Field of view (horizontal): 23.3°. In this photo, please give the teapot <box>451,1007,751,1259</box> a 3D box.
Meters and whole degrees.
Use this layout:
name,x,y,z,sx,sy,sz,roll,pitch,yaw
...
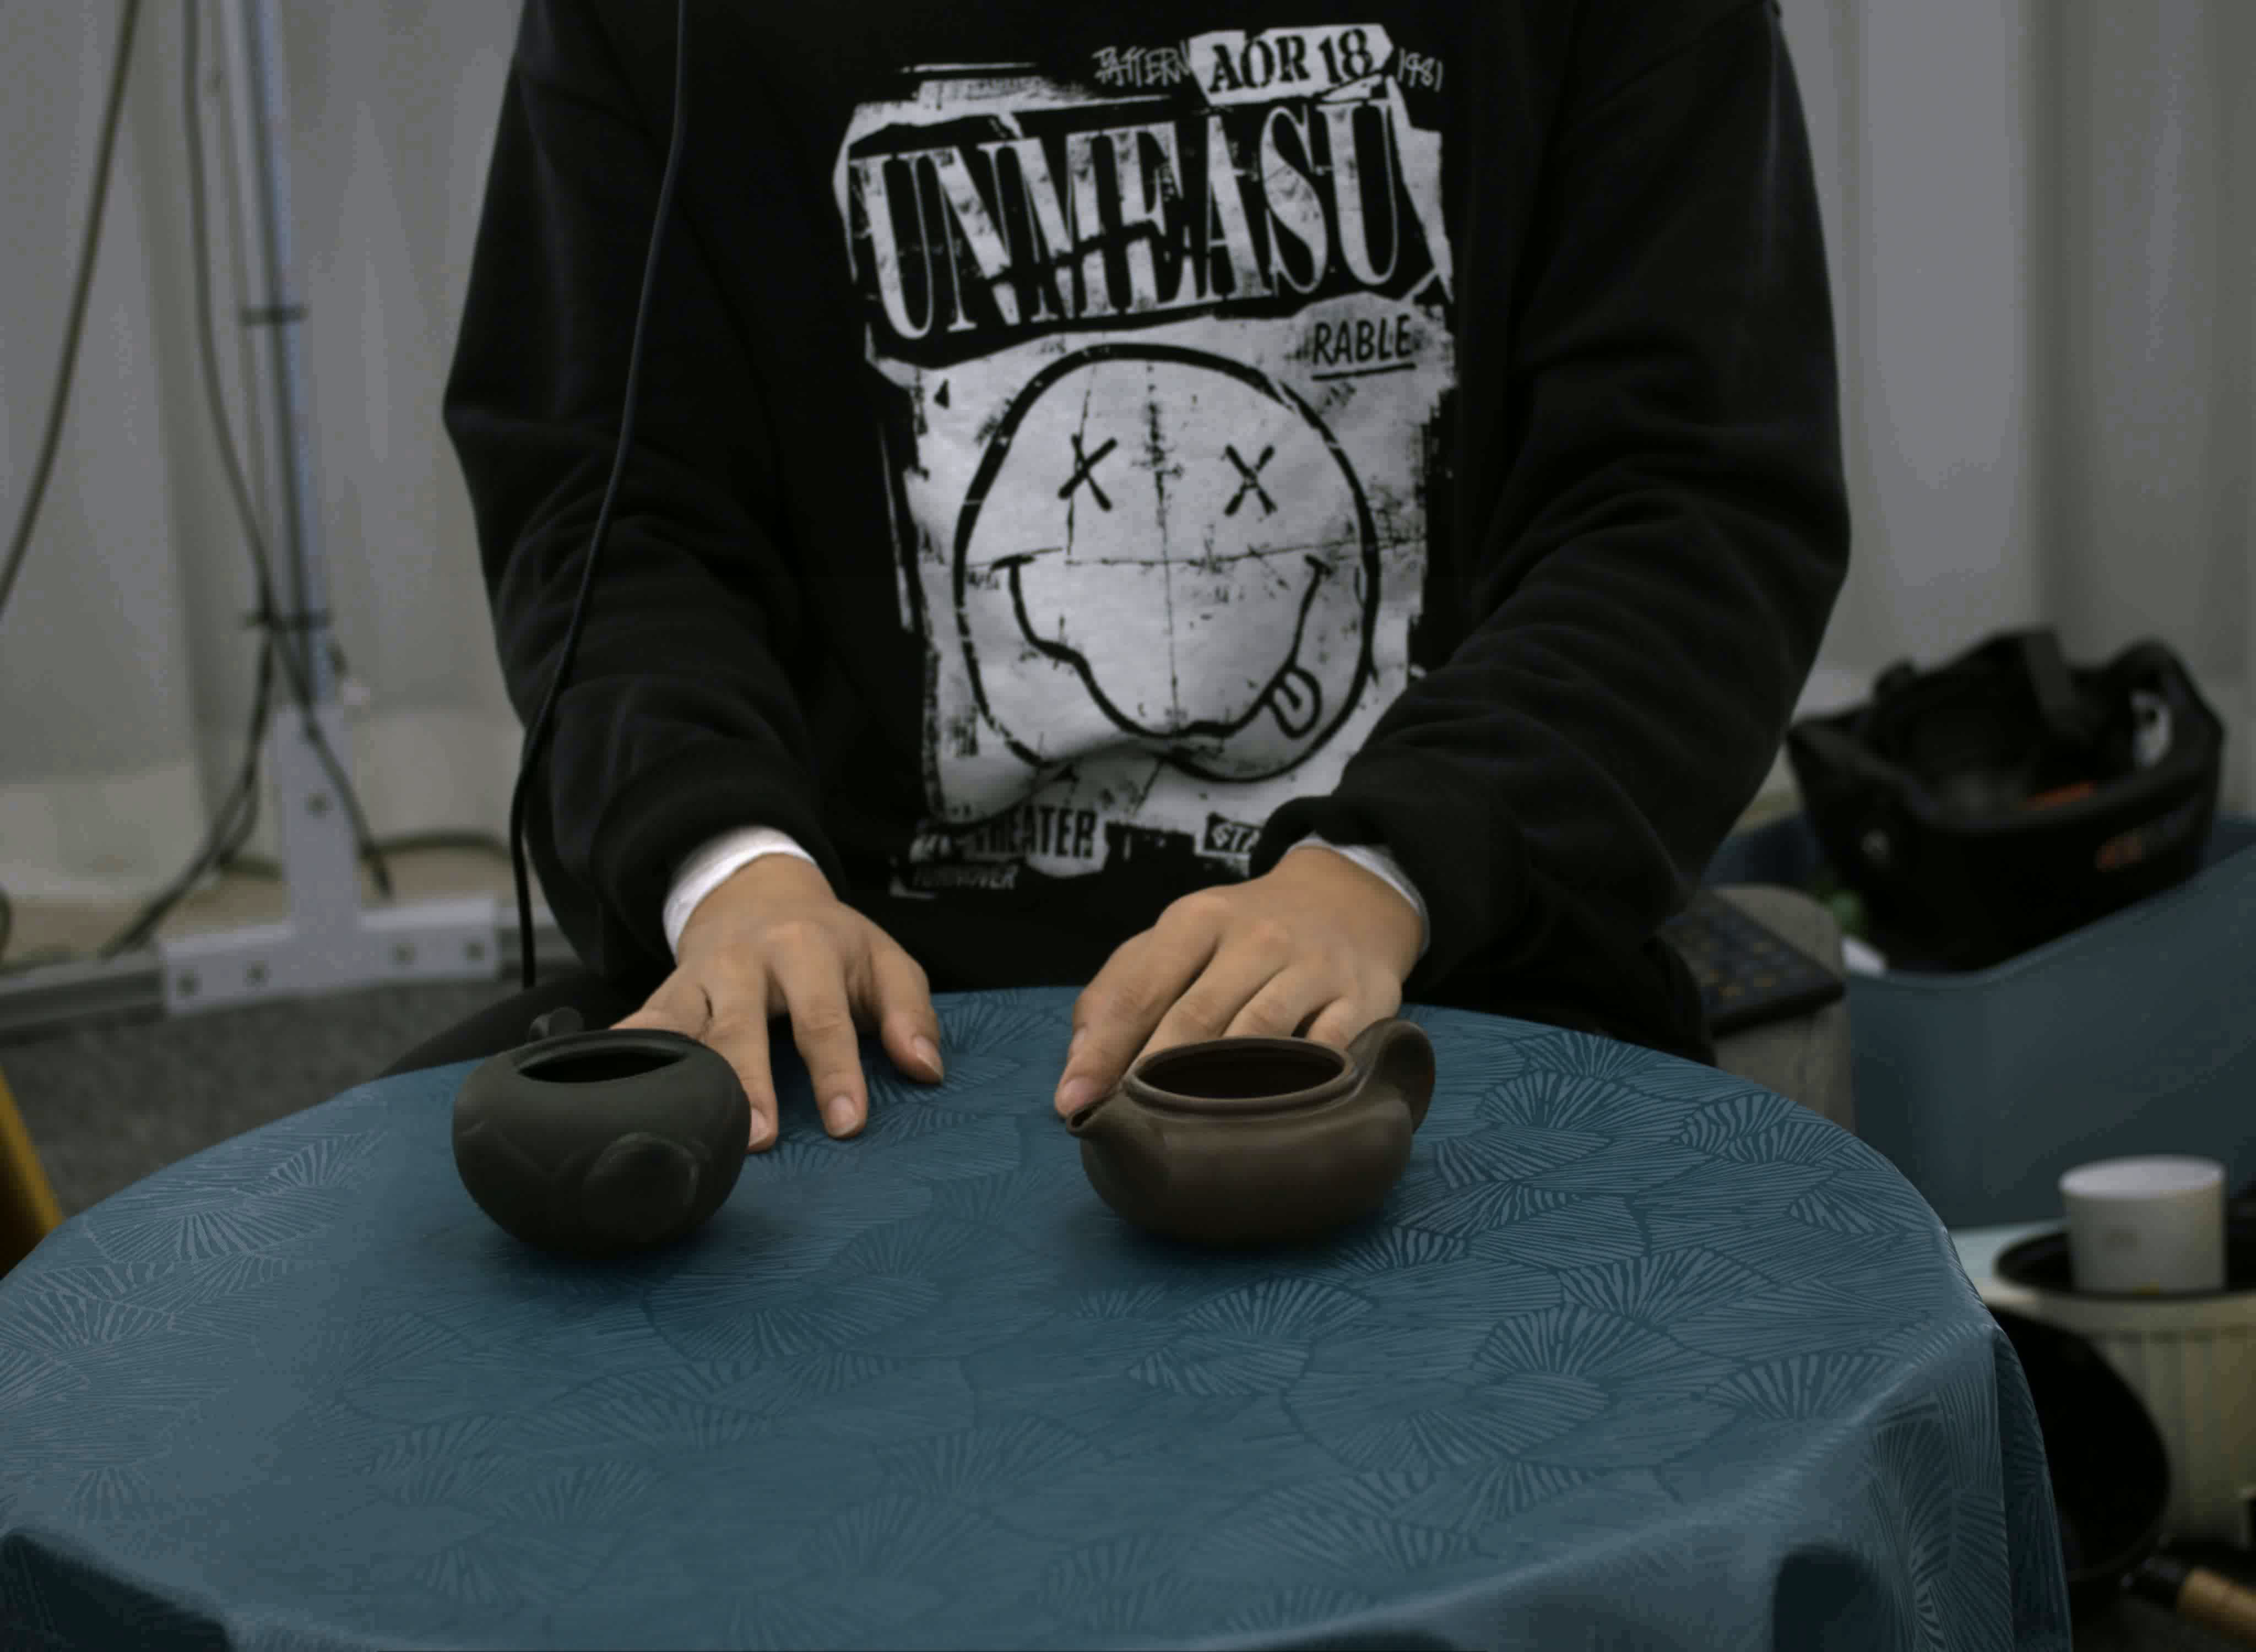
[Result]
name,x,y,z,sx,sy,sz,roll,pitch,yaw
teapot,-0.164,0.096,1.695,0.092,0.064,0.155,-5,15,-18

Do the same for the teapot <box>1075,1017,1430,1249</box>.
name,x,y,z,sx,sy,sz,roll,pitch,yaw
teapot,0.039,0.094,1.680,0.103,0.053,0.153,12,21,40
